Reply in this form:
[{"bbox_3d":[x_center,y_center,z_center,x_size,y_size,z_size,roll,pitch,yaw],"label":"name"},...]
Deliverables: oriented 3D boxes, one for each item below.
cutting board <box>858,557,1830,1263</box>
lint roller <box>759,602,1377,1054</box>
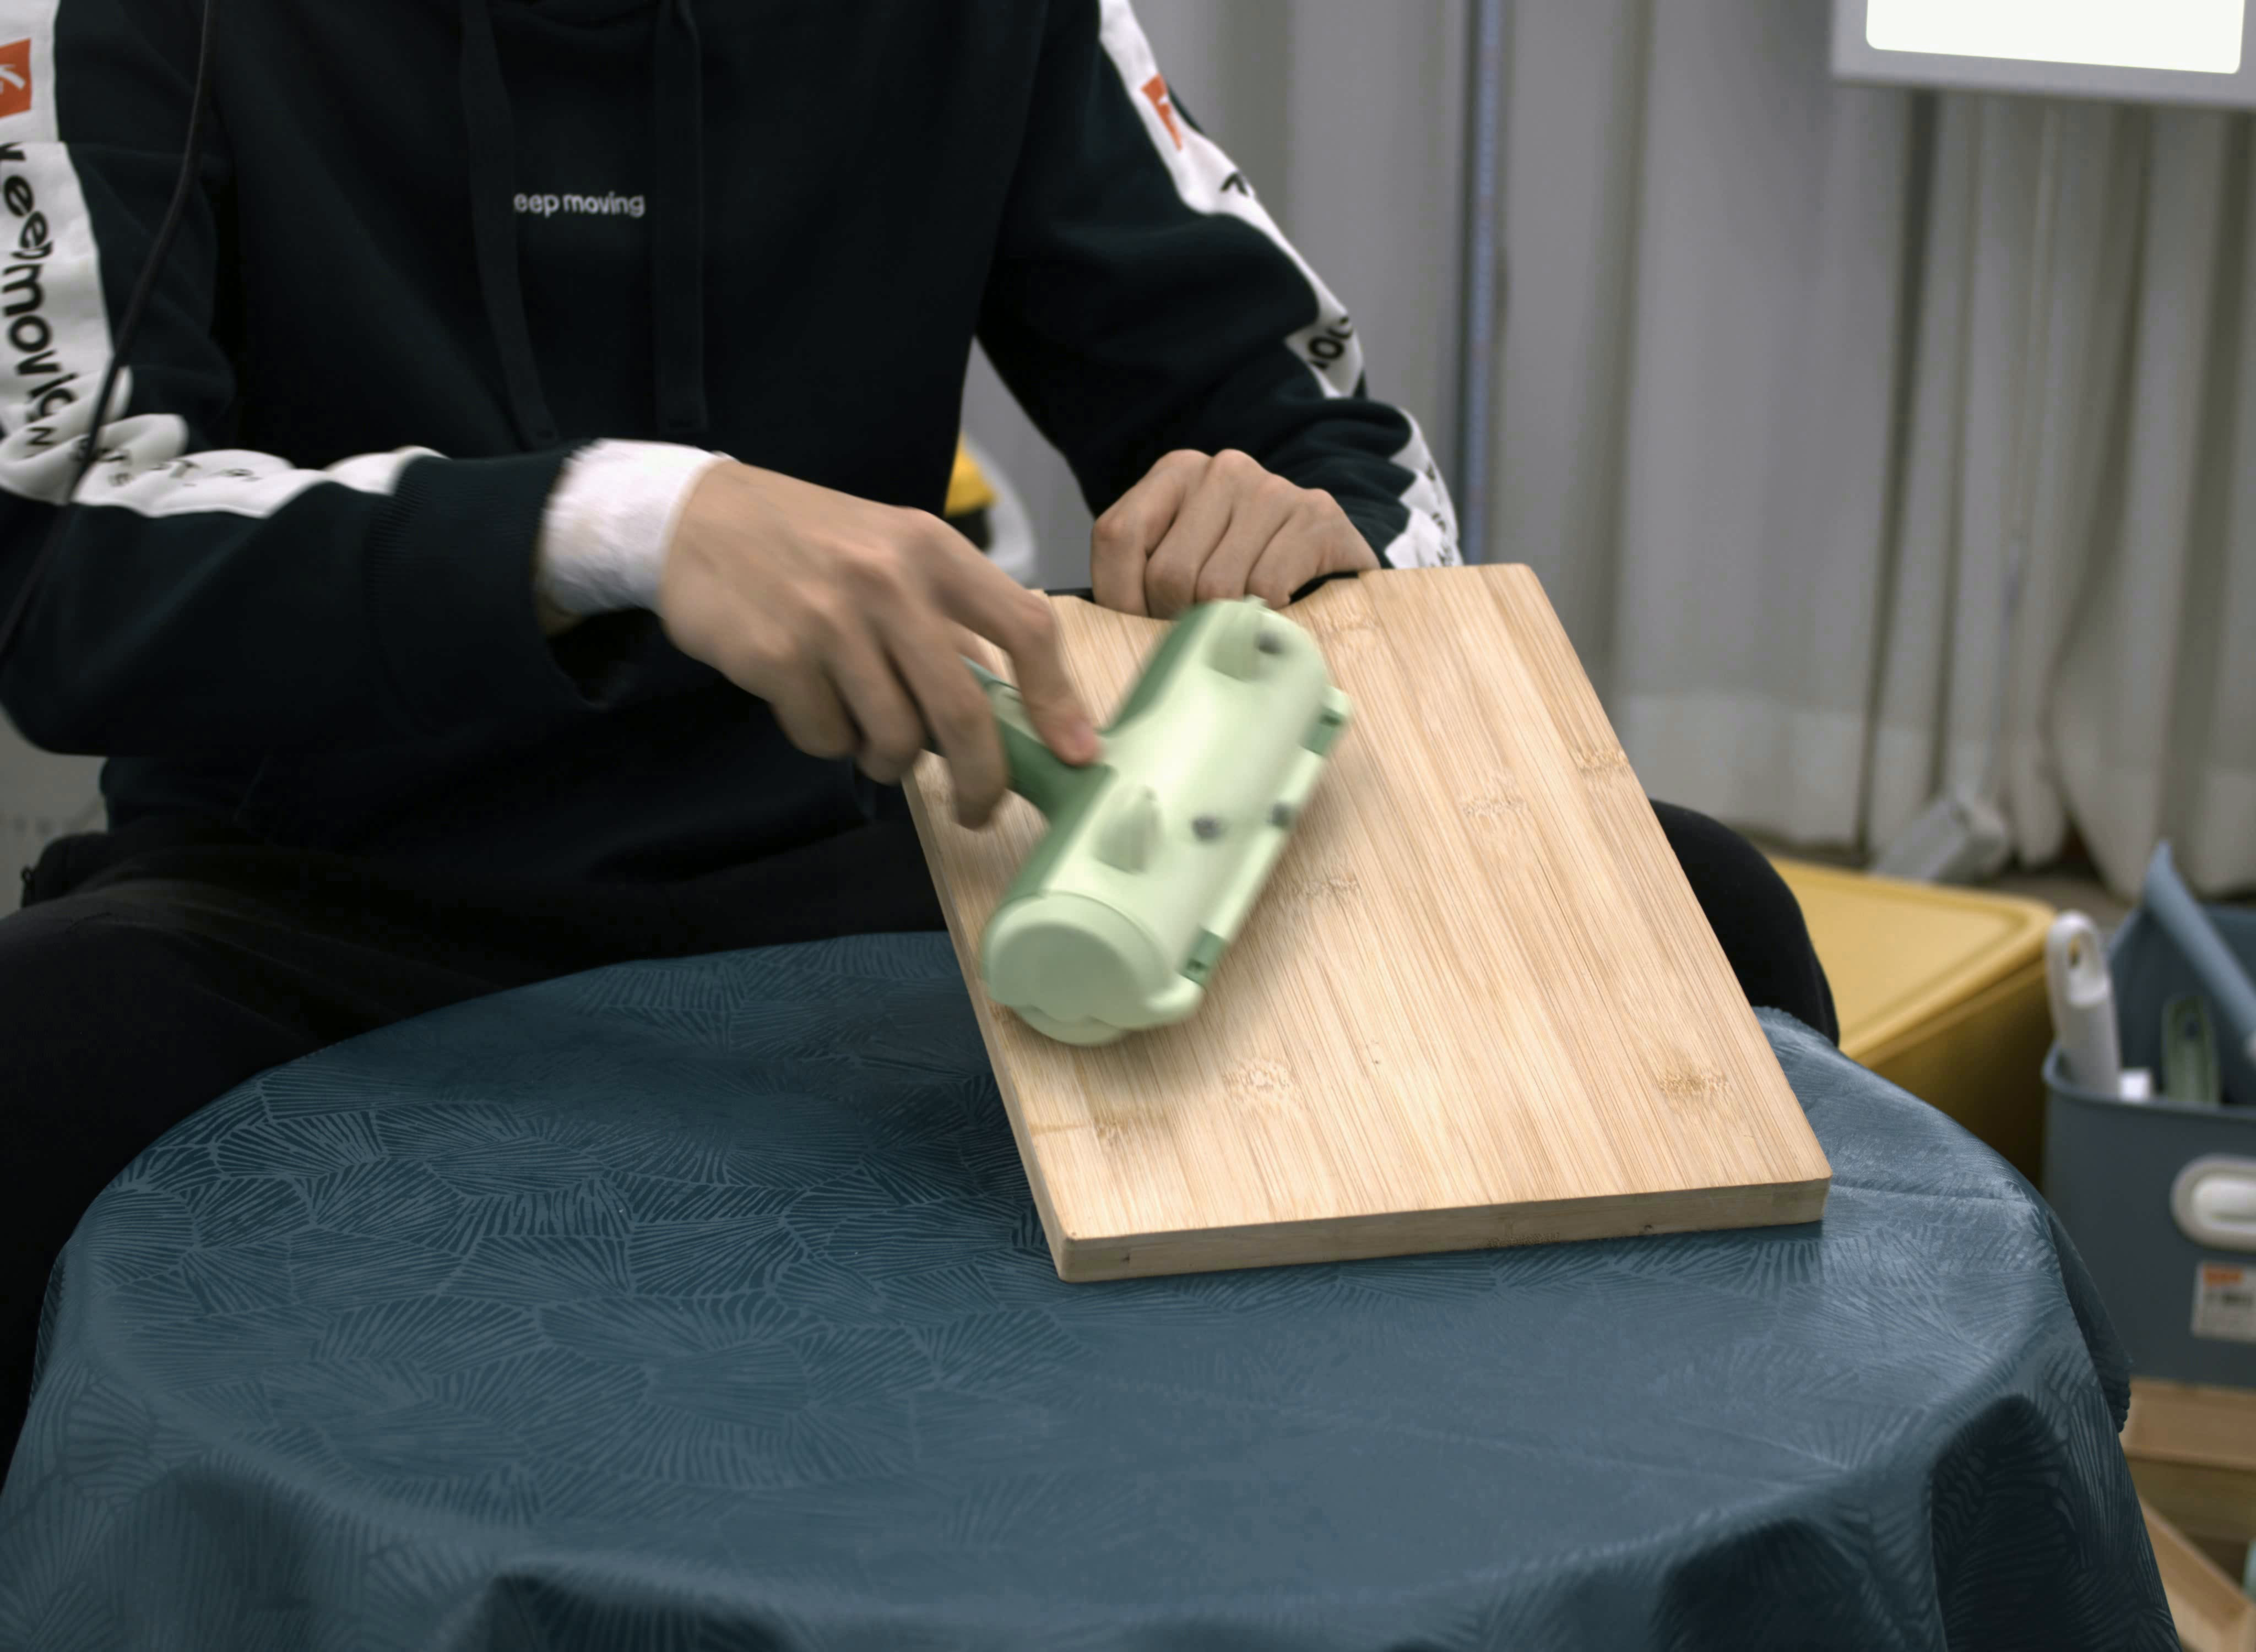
[{"bbox_3d":[0.059,0.019,1.700,0.251,0.024,0.344,-3,37,-14],"label":"cutting board"},{"bbox_3d":[-0.025,-0.036,1.648,0.183,0.082,0.198,33,38,-1],"label":"lint roller"}]
